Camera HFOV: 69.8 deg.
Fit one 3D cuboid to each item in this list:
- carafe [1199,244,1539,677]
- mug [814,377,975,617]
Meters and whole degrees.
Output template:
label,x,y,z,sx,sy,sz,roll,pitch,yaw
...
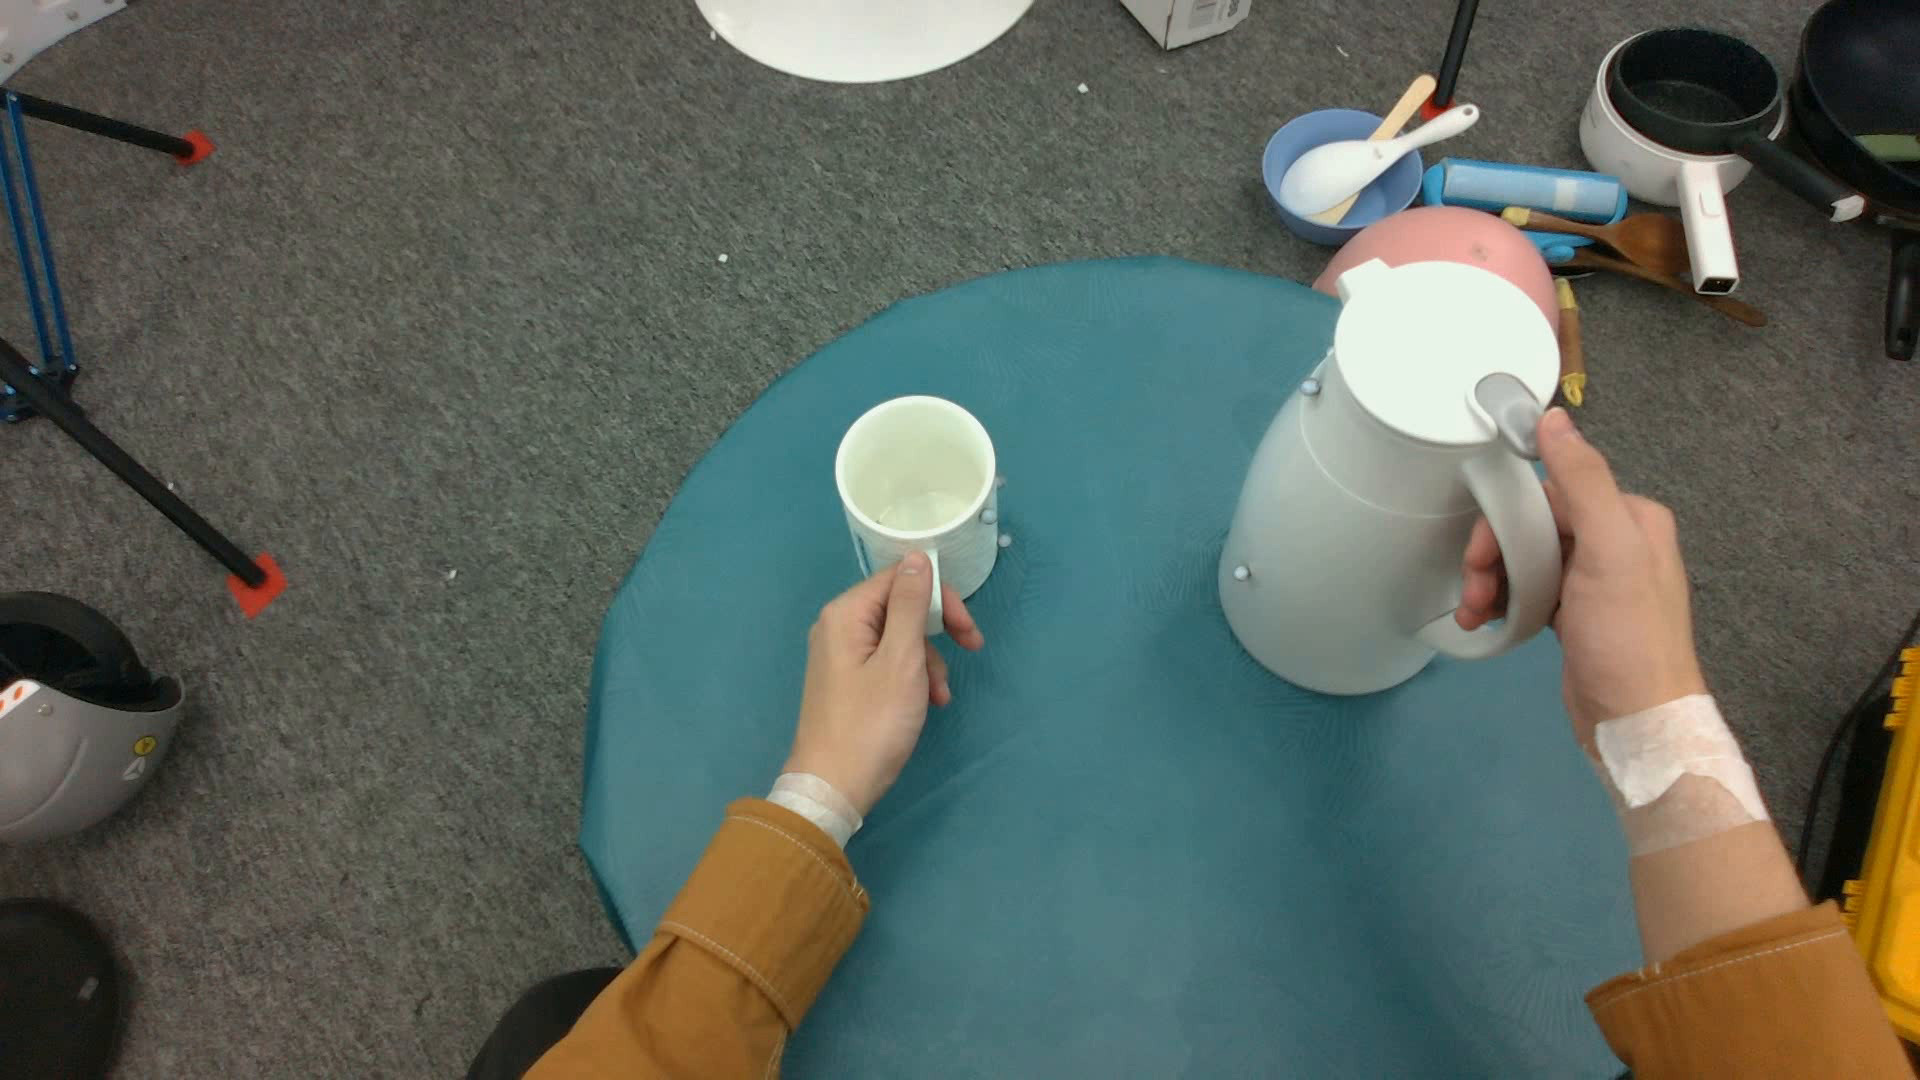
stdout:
label,x,y,z,sx,sy,sz,roll,pitch,yaw
carafe,0.209,-0.022,0.679,0.133,0.247,0.168,-26,66,-11
mug,-0.032,-0.013,0.759,0.085,0.101,0.118,-7,62,-2
